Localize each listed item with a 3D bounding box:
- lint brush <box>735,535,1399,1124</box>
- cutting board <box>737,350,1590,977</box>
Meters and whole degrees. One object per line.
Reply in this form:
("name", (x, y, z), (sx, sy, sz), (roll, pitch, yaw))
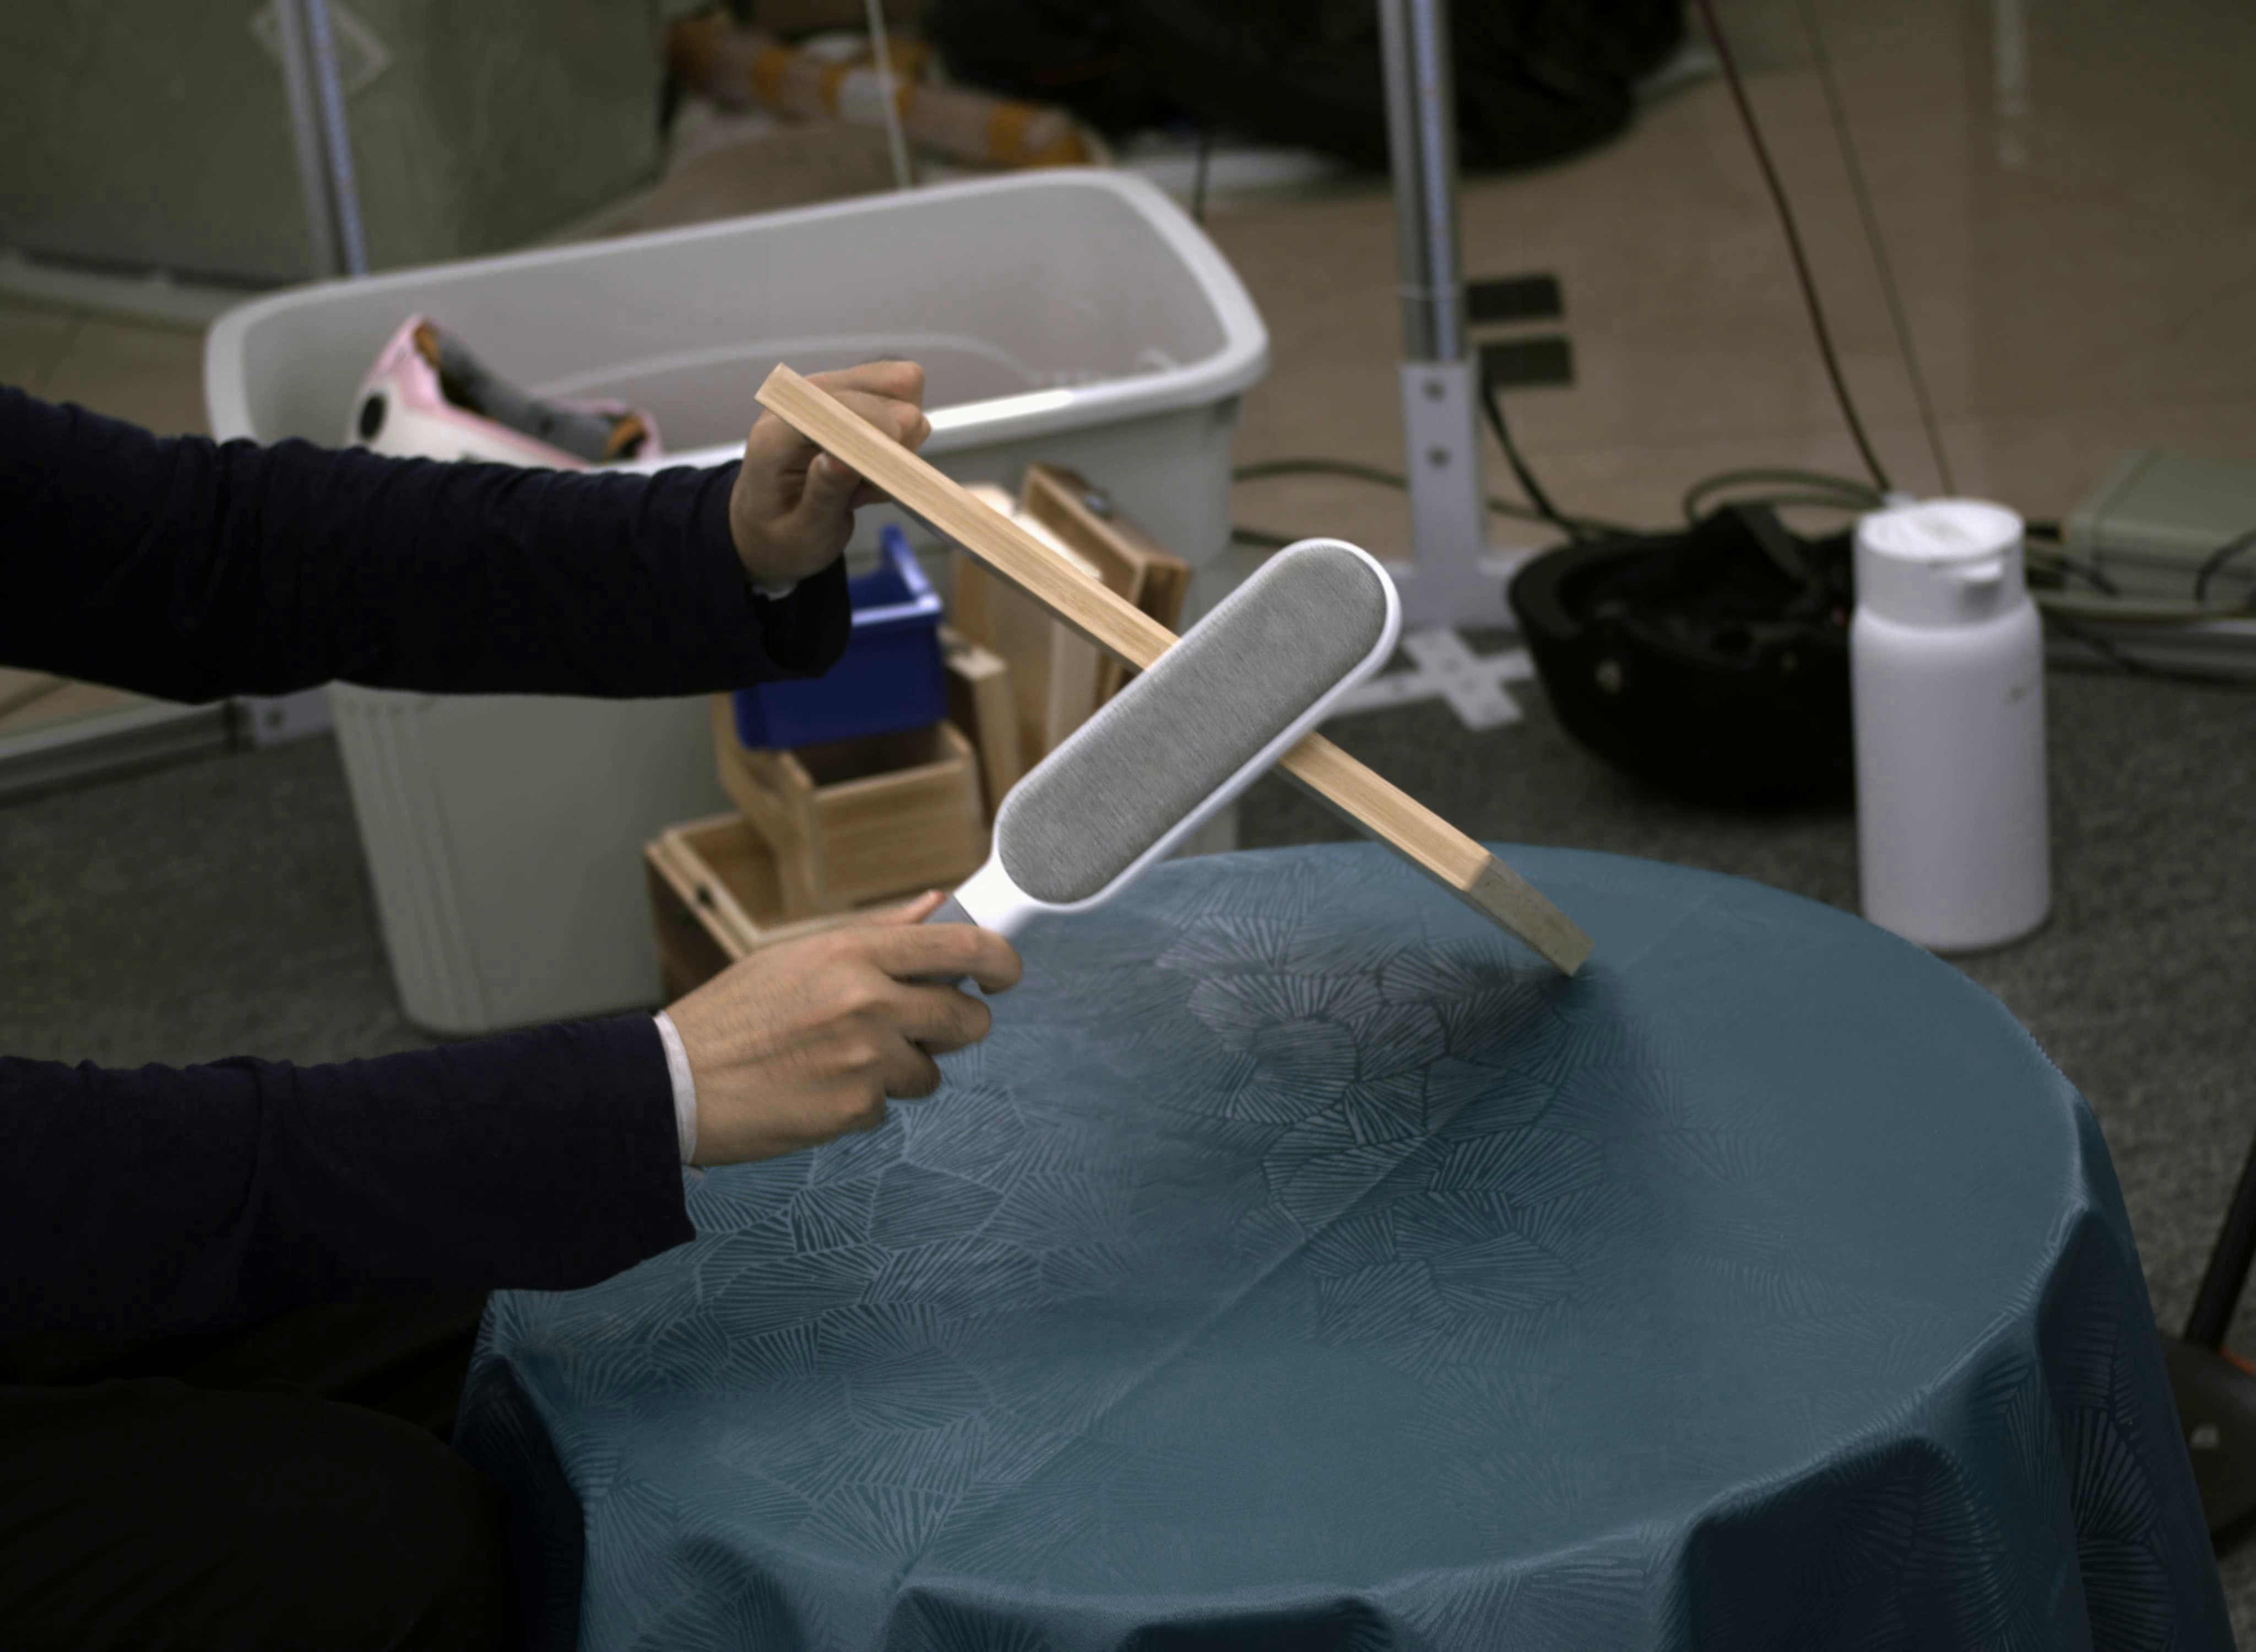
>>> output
("lint brush", (-0.025, 0.003, 2.070), (0.309, 0.060, 0.021), (-41, -10, 5))
("cutting board", (0.018, -0.060, 2.209), (0.346, 0.023, 0.252), (35, 0, 15))
